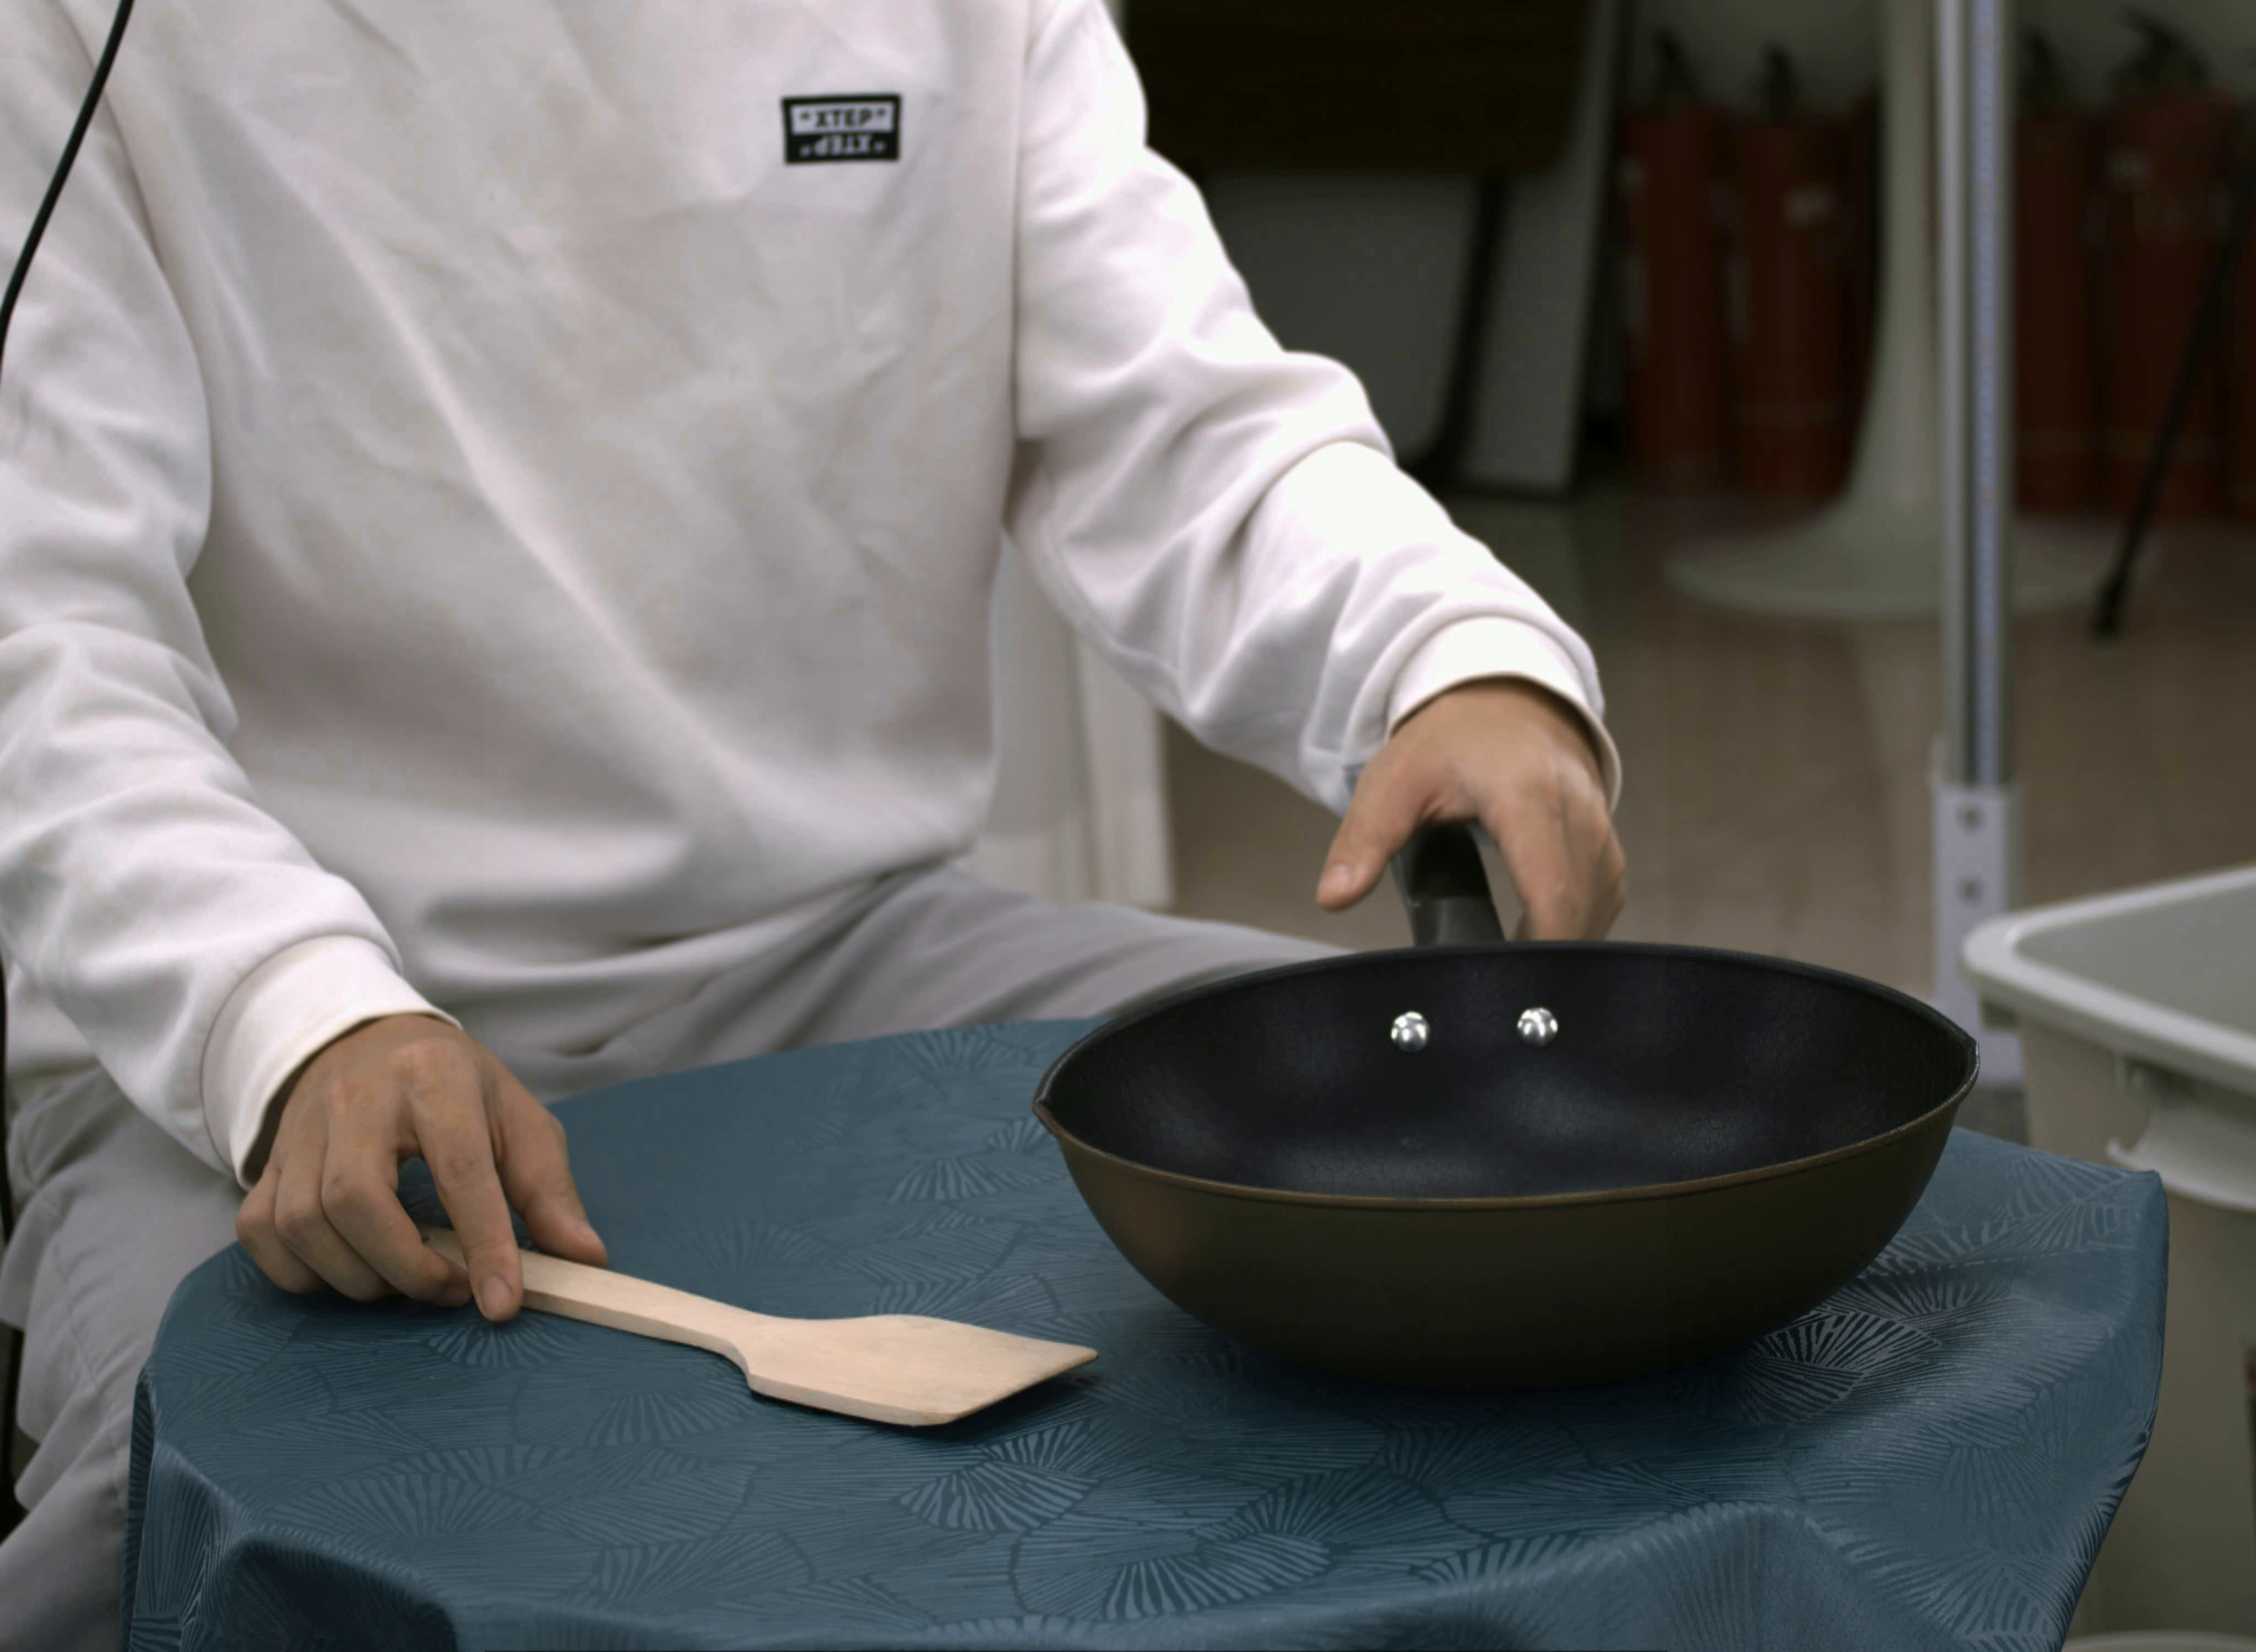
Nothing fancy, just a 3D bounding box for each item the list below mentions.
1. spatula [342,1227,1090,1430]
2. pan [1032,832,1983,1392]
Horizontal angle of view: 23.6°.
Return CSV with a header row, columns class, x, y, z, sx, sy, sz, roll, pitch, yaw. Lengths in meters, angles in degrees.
class,x,y,z,sx,sy,sz,roll,pitch,yaw
spatula,-0.140,0.152,1.669,0.295,0.011,0.071,8,18,41
pan,0.113,0.088,1.707,0.284,0.088,0.464,-3,12,0
